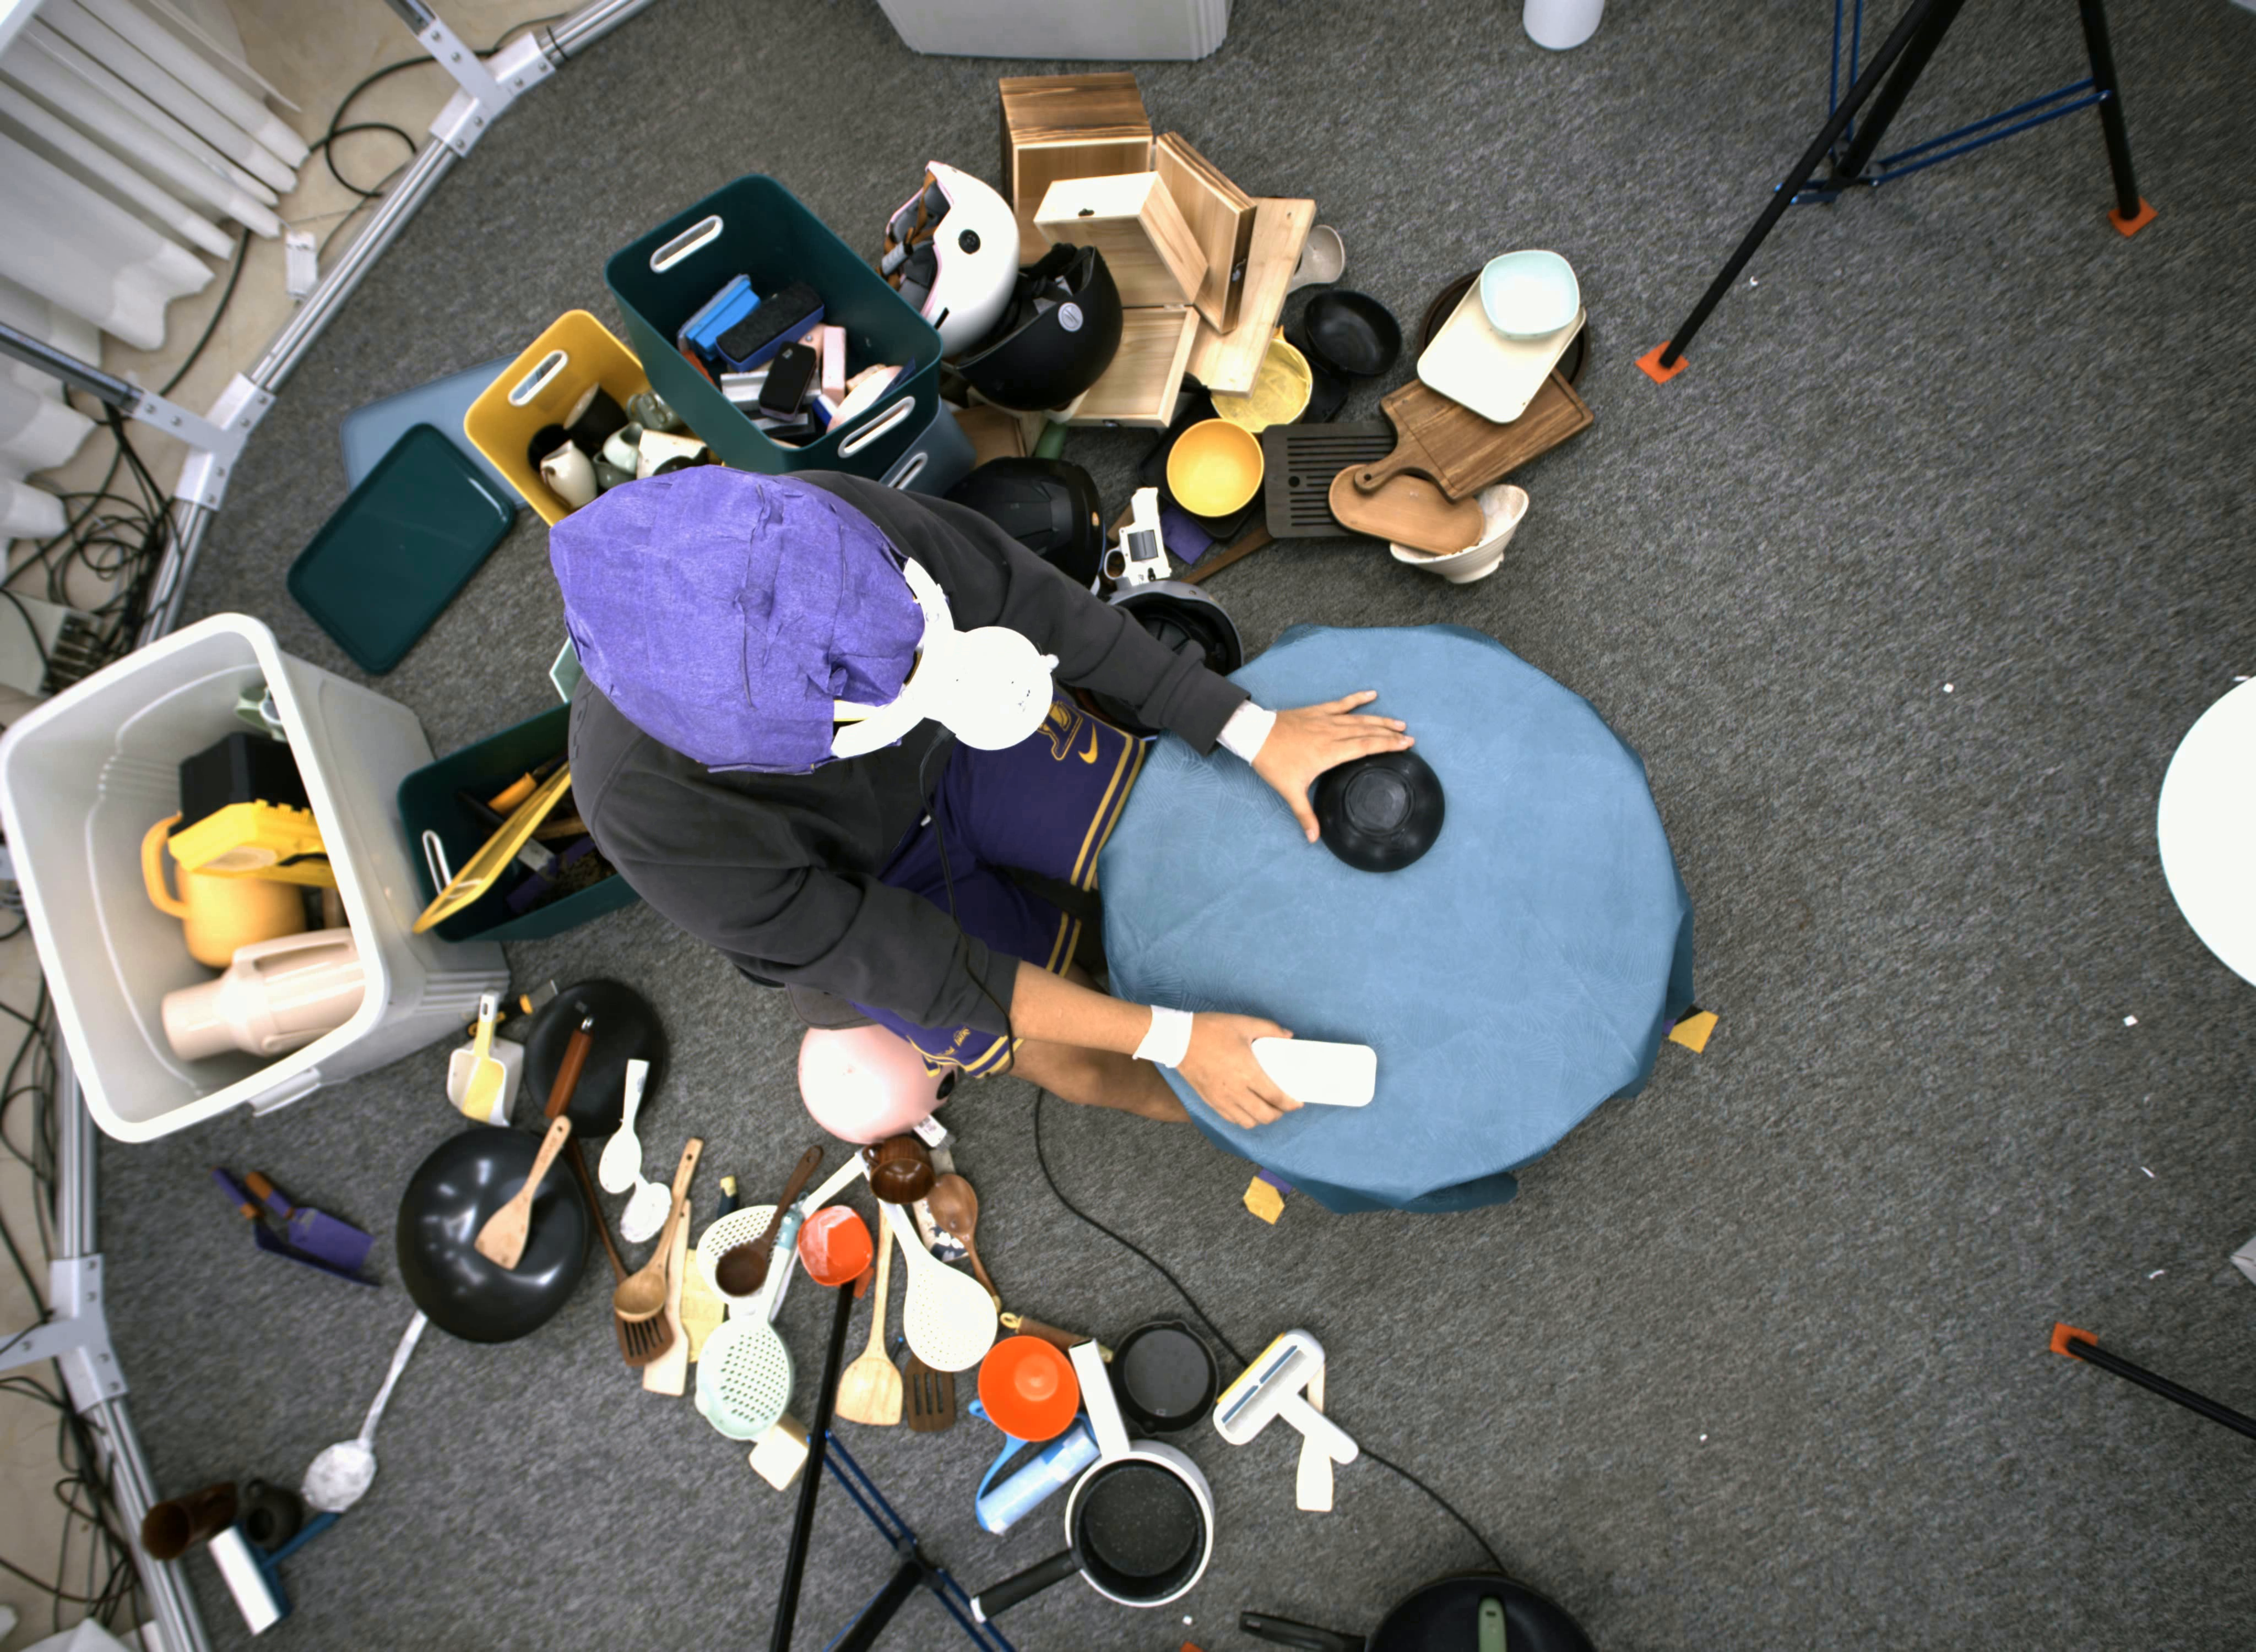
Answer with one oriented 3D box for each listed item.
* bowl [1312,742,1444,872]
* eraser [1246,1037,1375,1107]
[{"bbox_3d":[0.262,-0.024,1.440,0.140,0.050,0.139,-1,88,9],"label":"bowl"},{"bbox_3d":[0.189,0.253,1.442,0.131,0.034,0.063,7,88,3],"label":"eraser"}]
